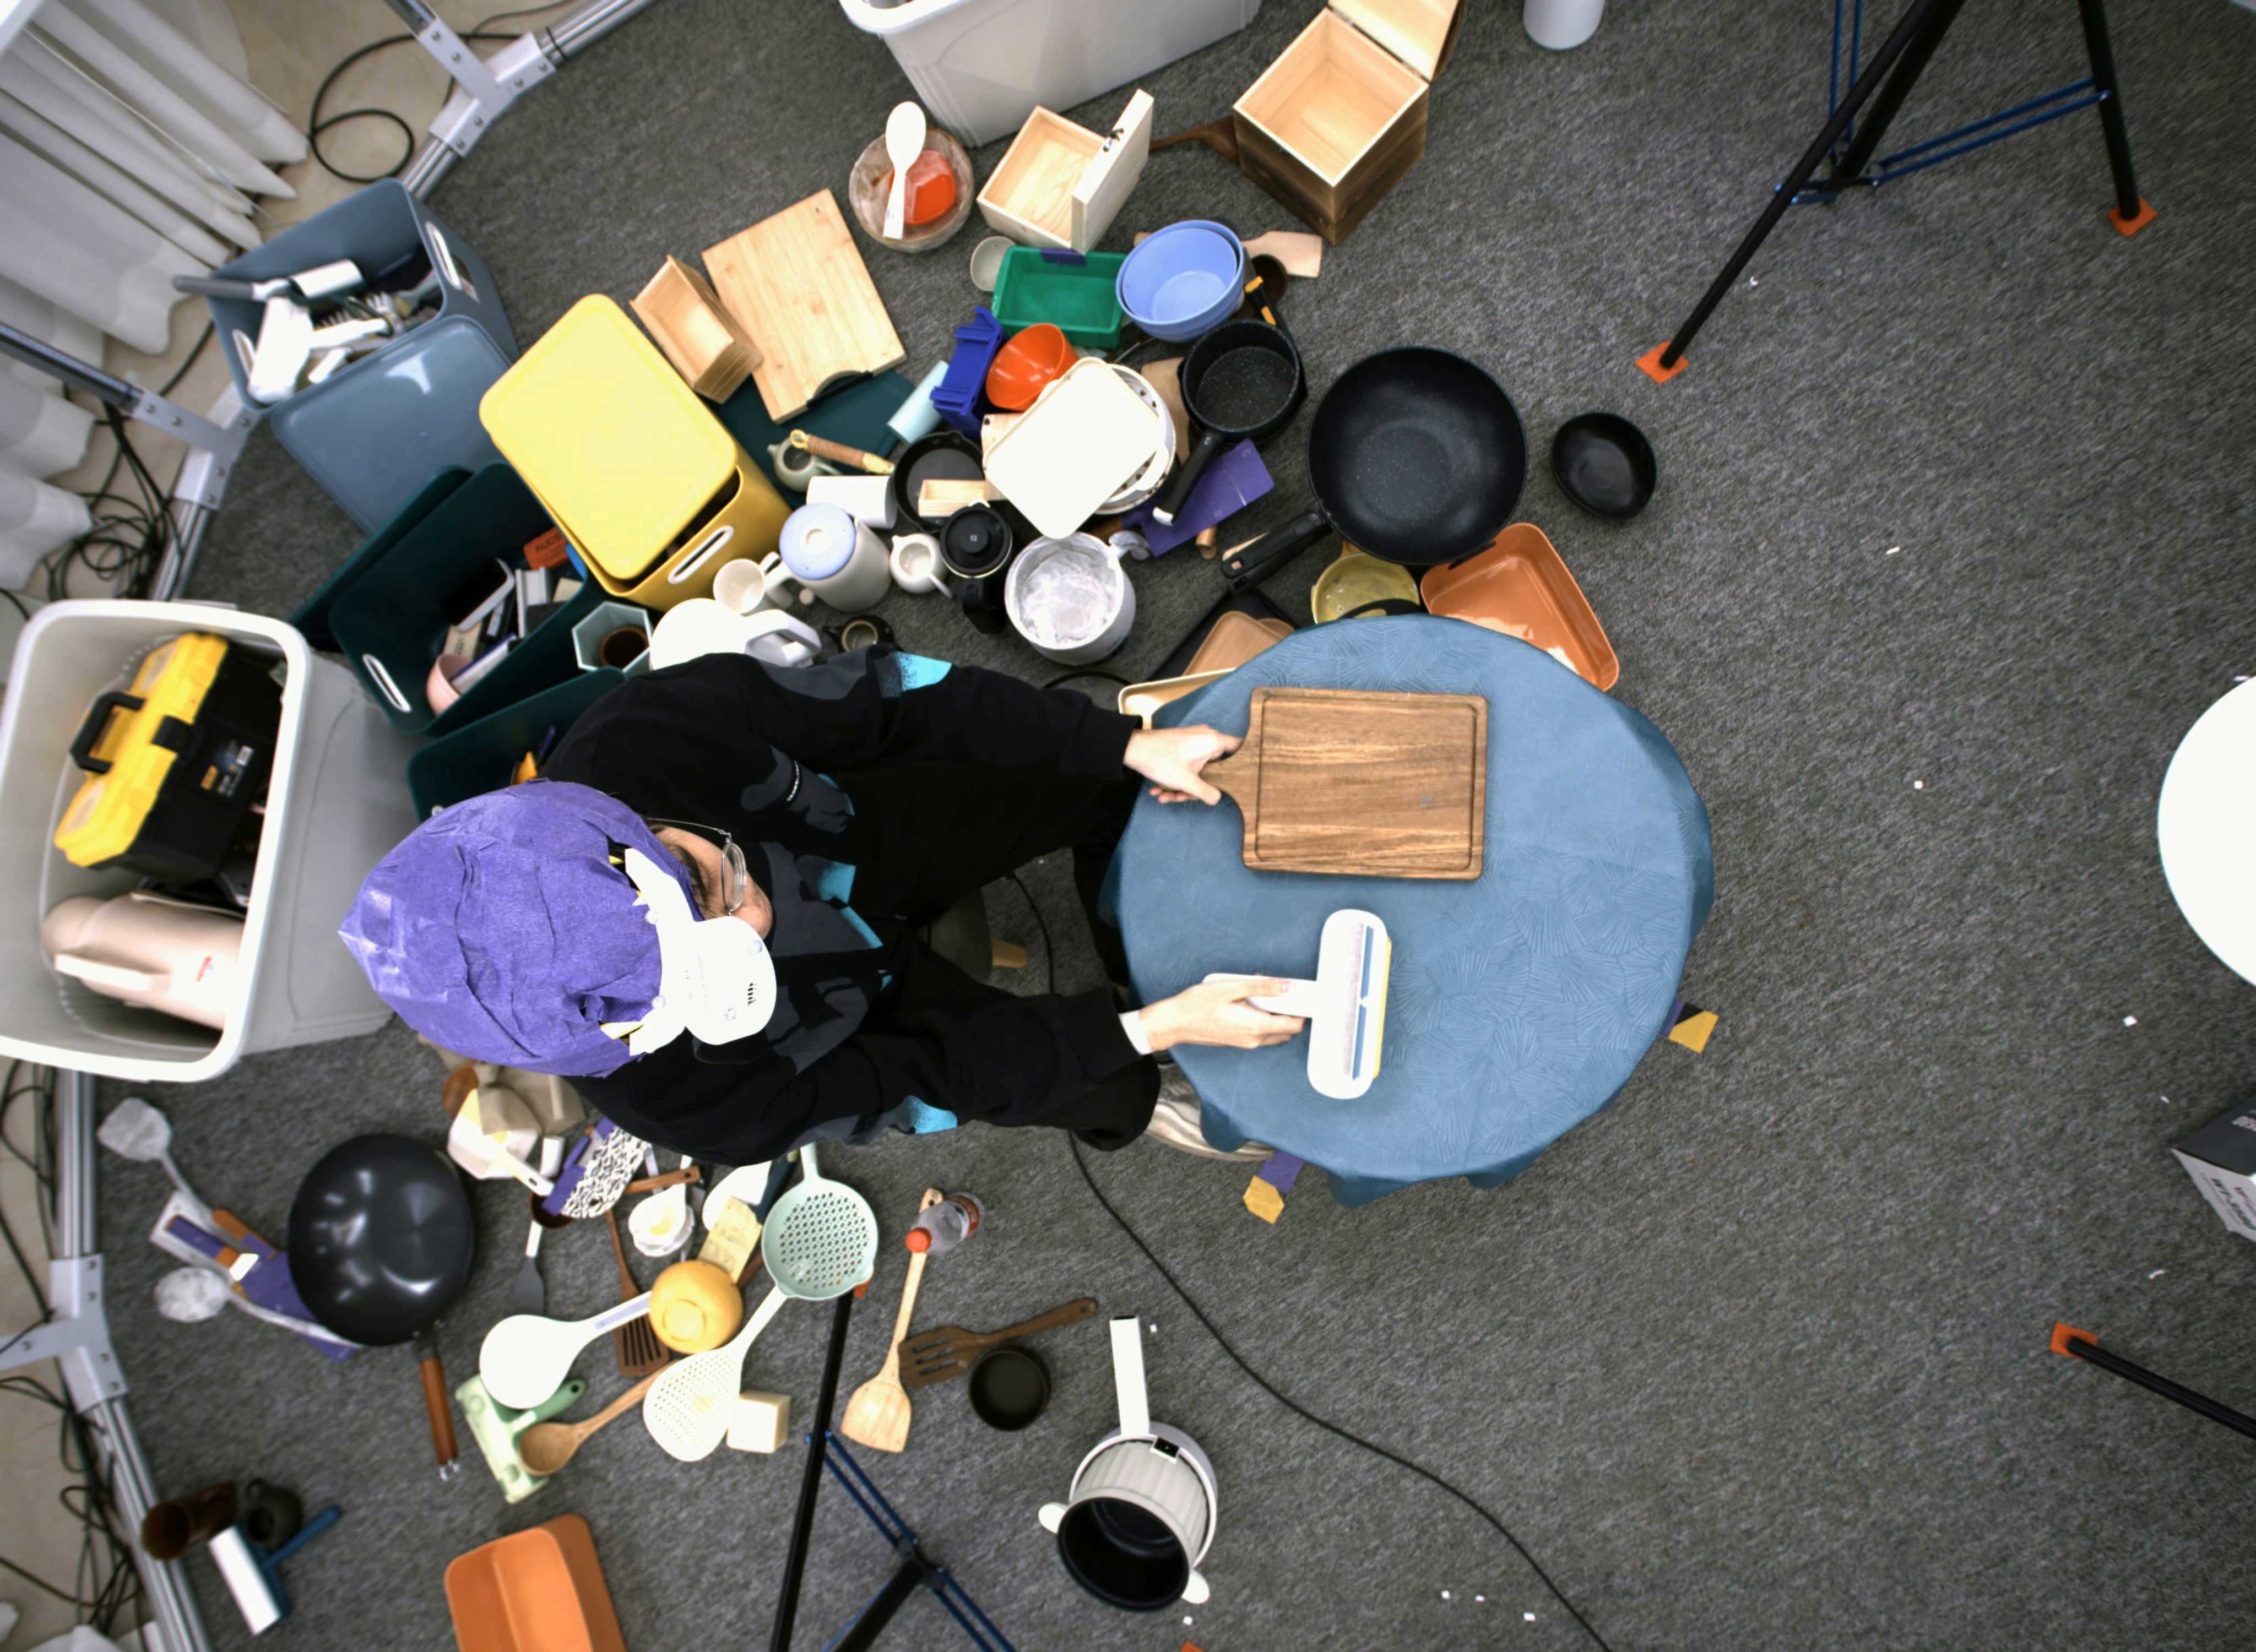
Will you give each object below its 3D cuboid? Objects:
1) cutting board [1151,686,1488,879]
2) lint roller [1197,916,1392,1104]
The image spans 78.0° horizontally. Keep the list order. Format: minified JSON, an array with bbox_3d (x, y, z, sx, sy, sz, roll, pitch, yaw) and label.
[{"bbox_3d":[0.201,-0.049,1.451,0.353,0.023,0.200,2,88,6],"label":"cutting board"},{"bbox_3d":[0.165,0.178,1.427,0.193,0.075,0.191,10,79,7],"label":"lint roller"}]
